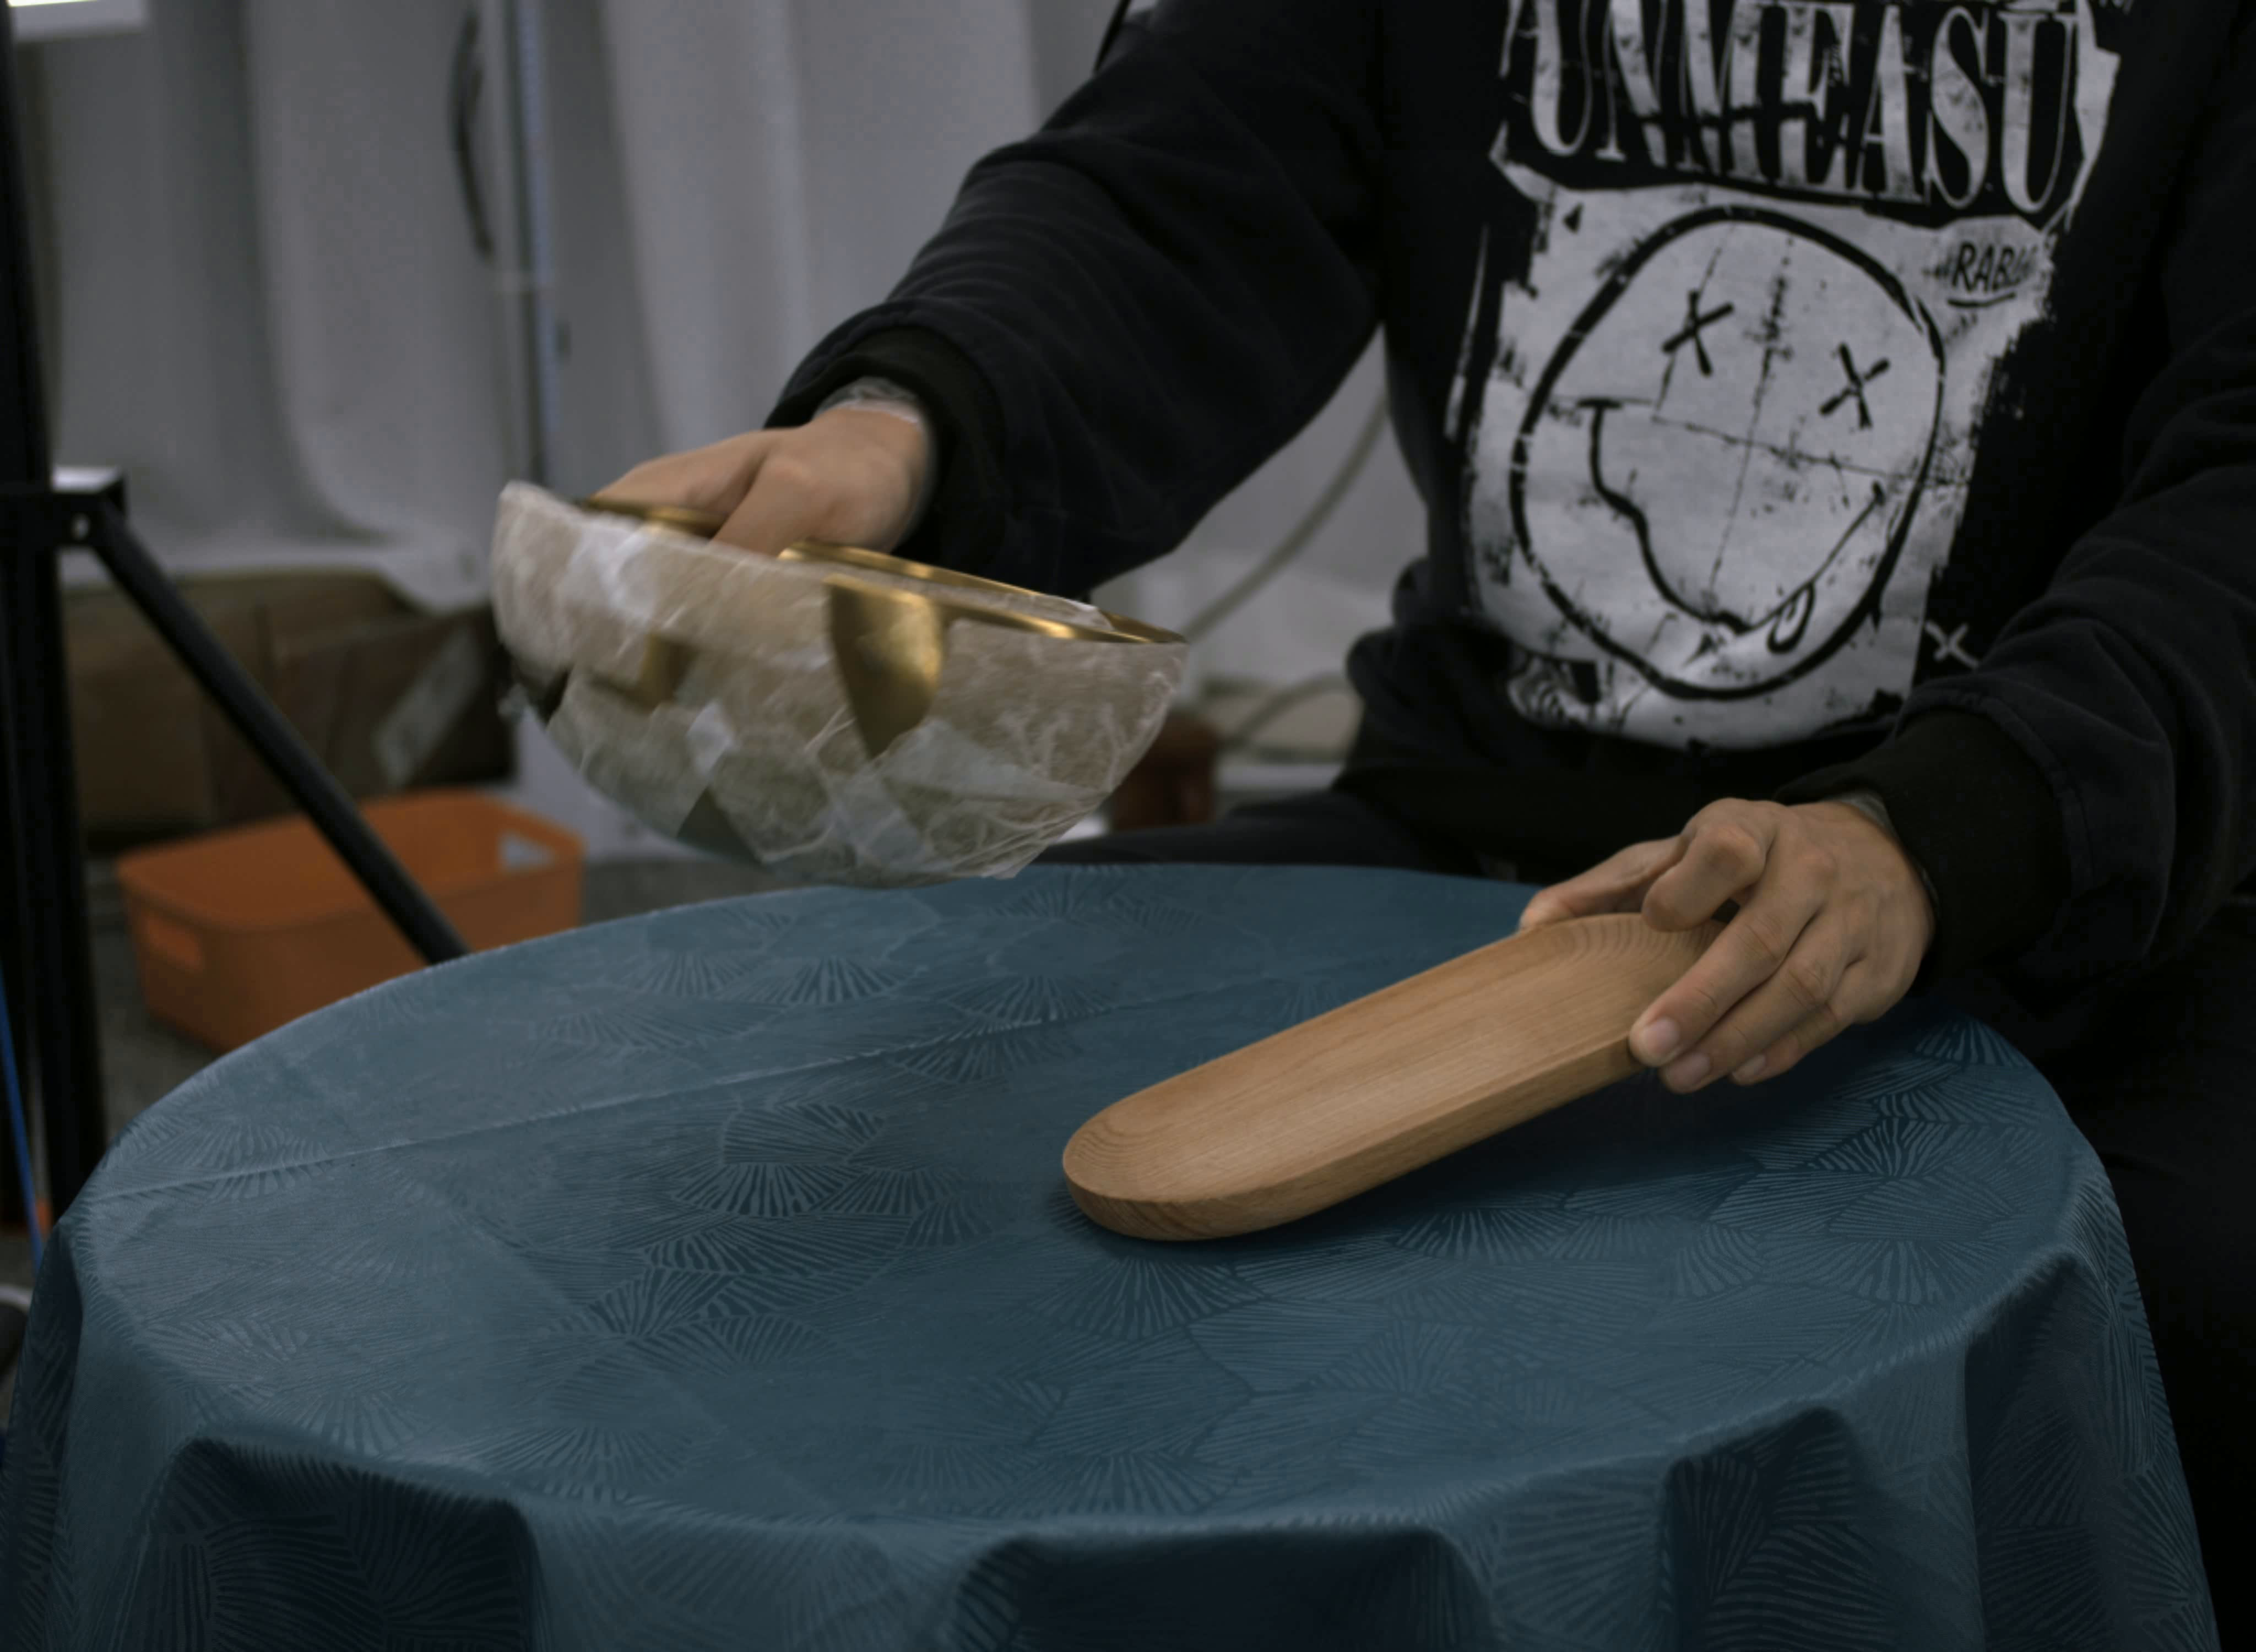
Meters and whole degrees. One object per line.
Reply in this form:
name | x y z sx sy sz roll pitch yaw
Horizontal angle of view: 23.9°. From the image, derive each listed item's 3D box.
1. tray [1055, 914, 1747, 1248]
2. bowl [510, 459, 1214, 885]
tray | 0.083 0.075 1.570 0.227 0.020 0.104 -23 20 -25
bowl | -0.082 -0.035 1.528 0.213 0.095 0.215 15 3 -2
